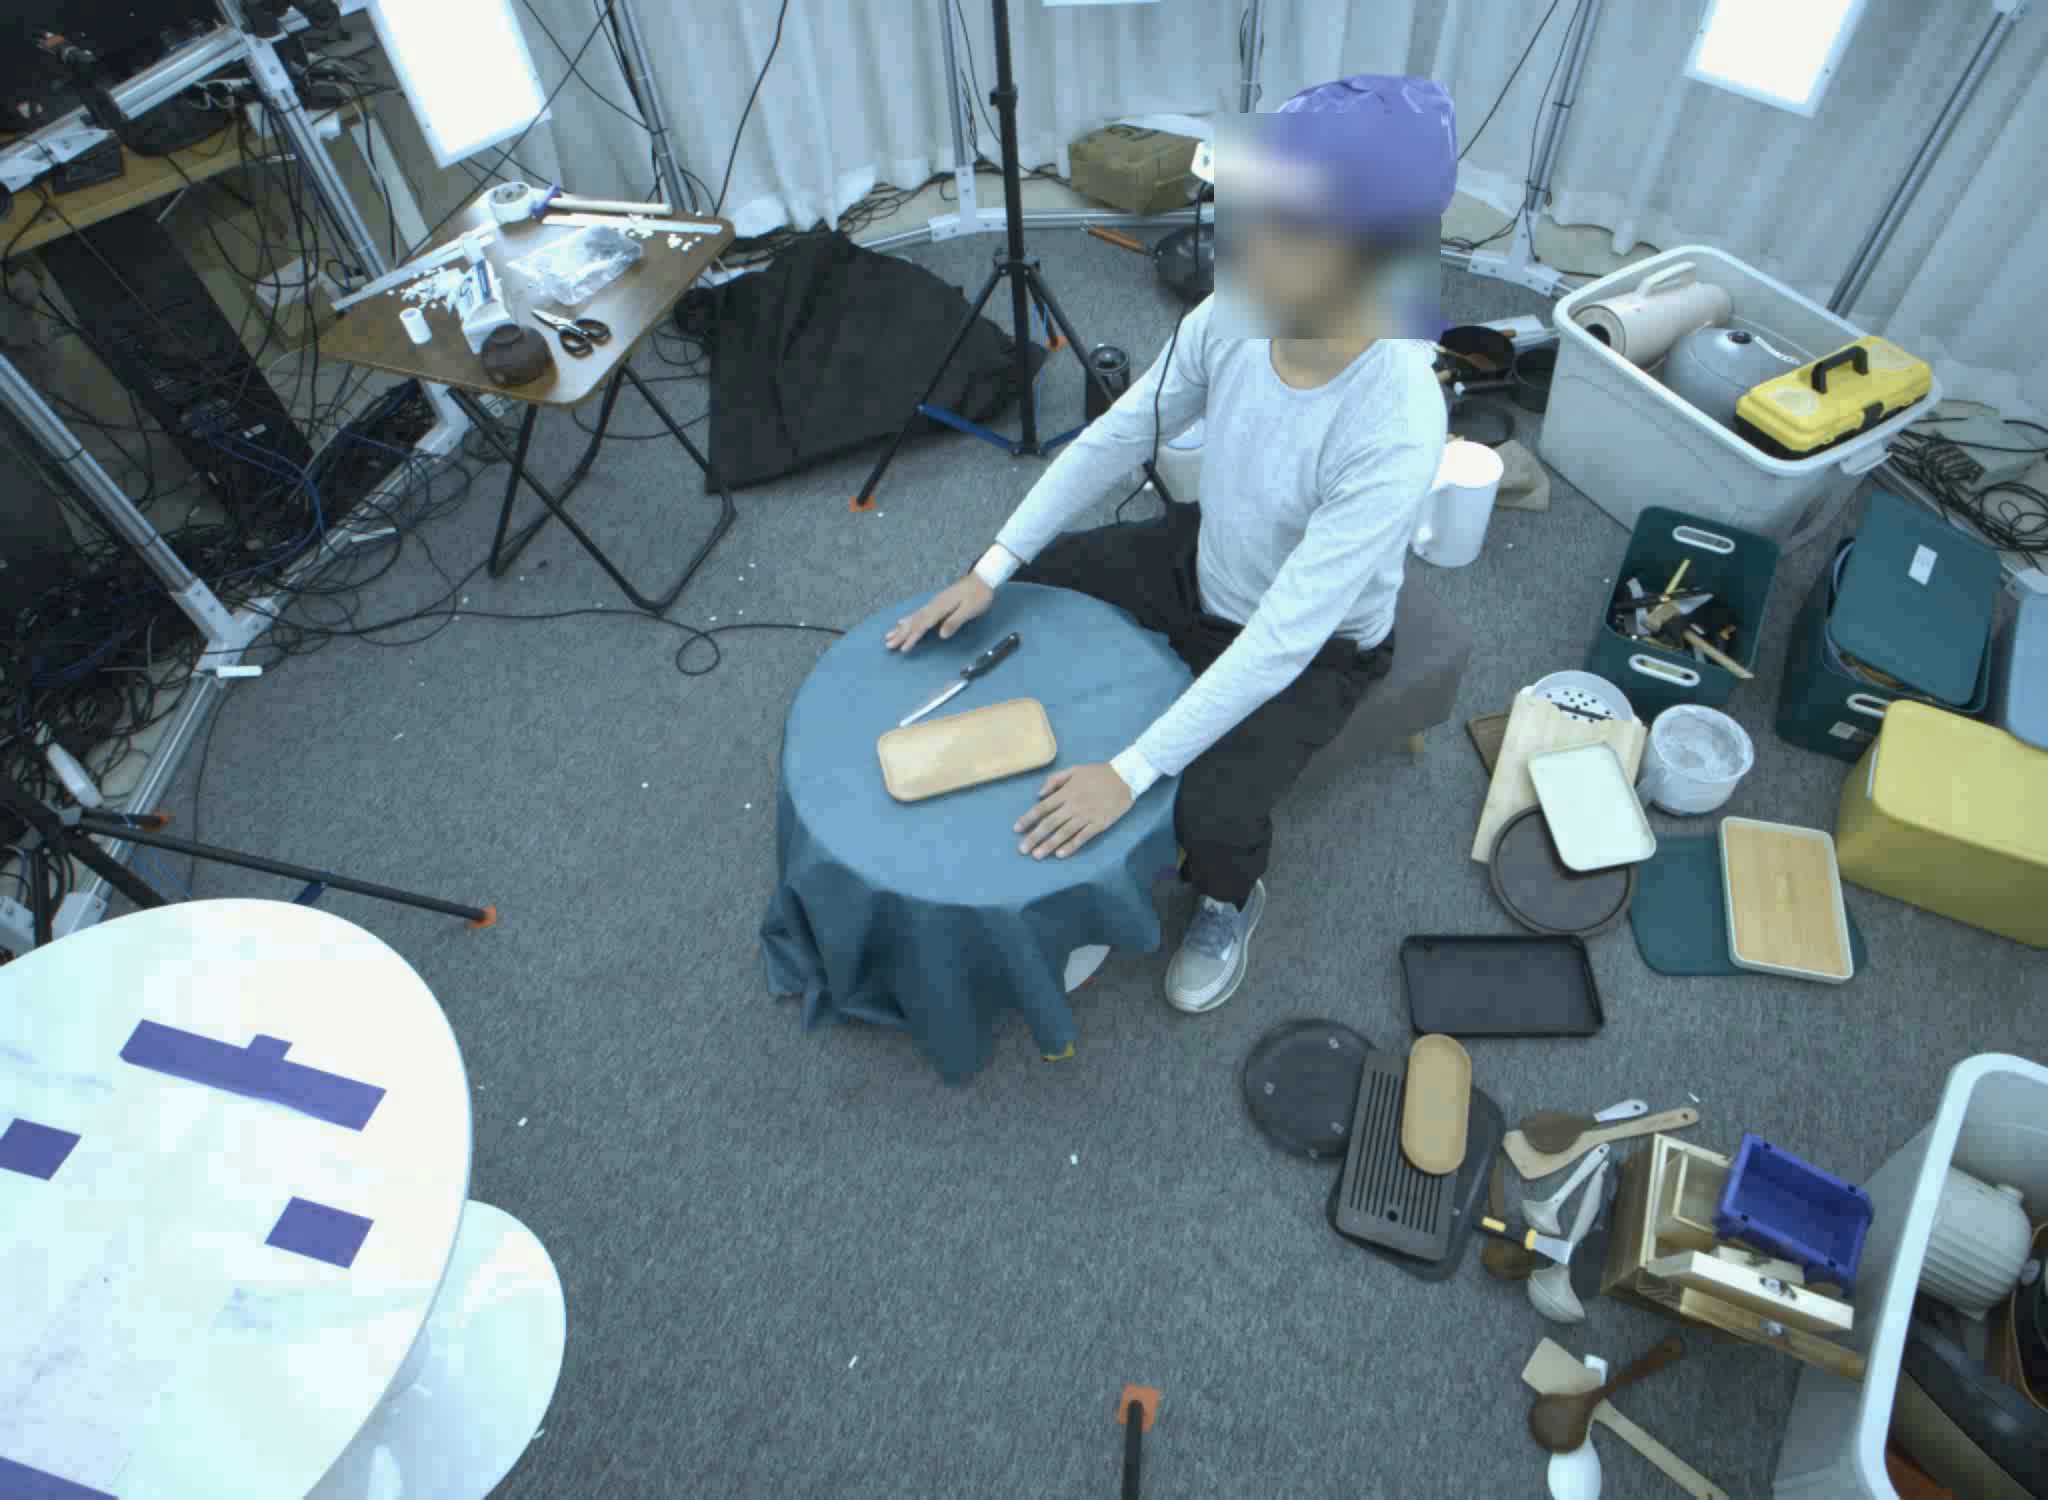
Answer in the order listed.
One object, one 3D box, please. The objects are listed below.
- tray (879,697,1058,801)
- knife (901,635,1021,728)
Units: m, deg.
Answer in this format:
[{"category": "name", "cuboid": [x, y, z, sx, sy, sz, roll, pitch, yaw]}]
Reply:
[{"category": "tray", "cuboid": [-0.082, -0.002, 1.788, 0.252, 0.023, 0.128, -13, 58, -9]}, {"category": "knife", "cuboid": [-0.098, -0.106, 1.866, 0.240, 0.016, 0.024, -39, 62, -21]}]
